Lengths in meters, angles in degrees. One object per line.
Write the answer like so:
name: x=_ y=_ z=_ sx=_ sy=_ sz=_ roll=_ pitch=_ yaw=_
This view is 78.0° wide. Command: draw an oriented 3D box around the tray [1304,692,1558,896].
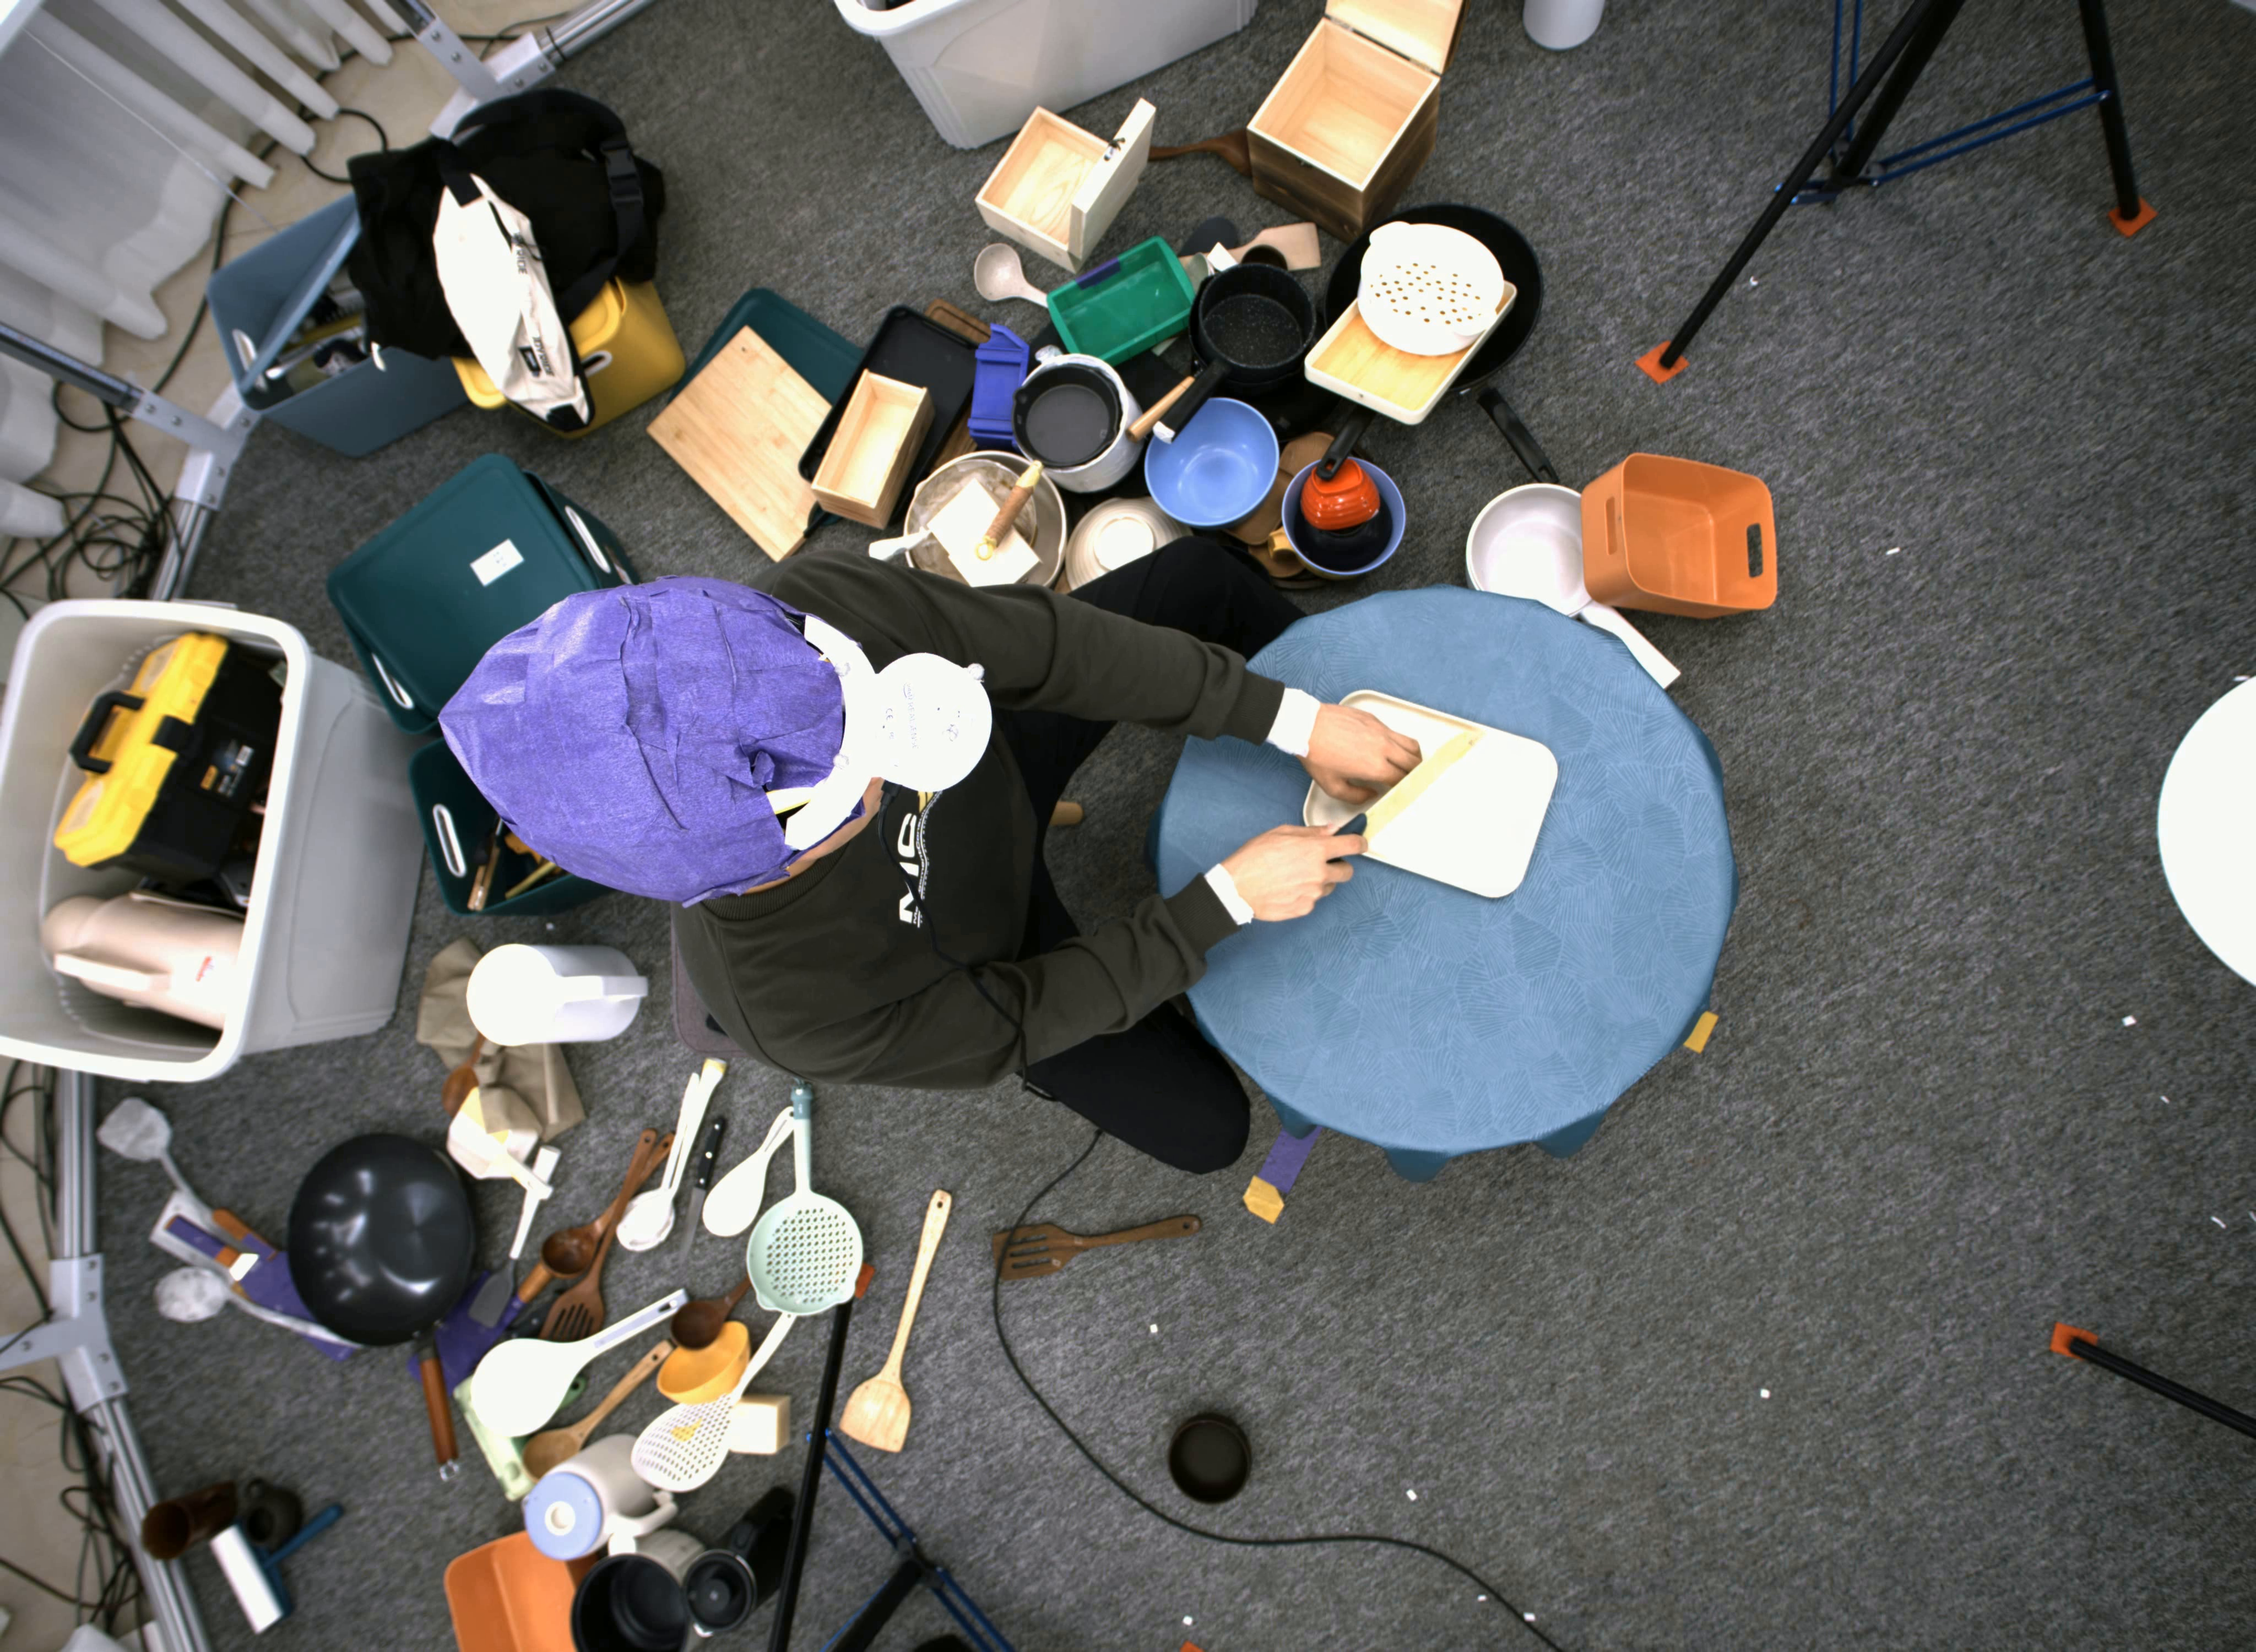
tray: x=0.317 y=-0.036 z=1.448 sx=0.240 sy=0.017 sz=0.171 roll=18 pitch=91 yaw=11

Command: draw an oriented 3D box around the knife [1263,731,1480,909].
knife: x=0.254 y=-0.008 z=1.415 sx=0.289 sy=0.082 sz=0.027 roll=-38 pitch=63 yaw=-3
